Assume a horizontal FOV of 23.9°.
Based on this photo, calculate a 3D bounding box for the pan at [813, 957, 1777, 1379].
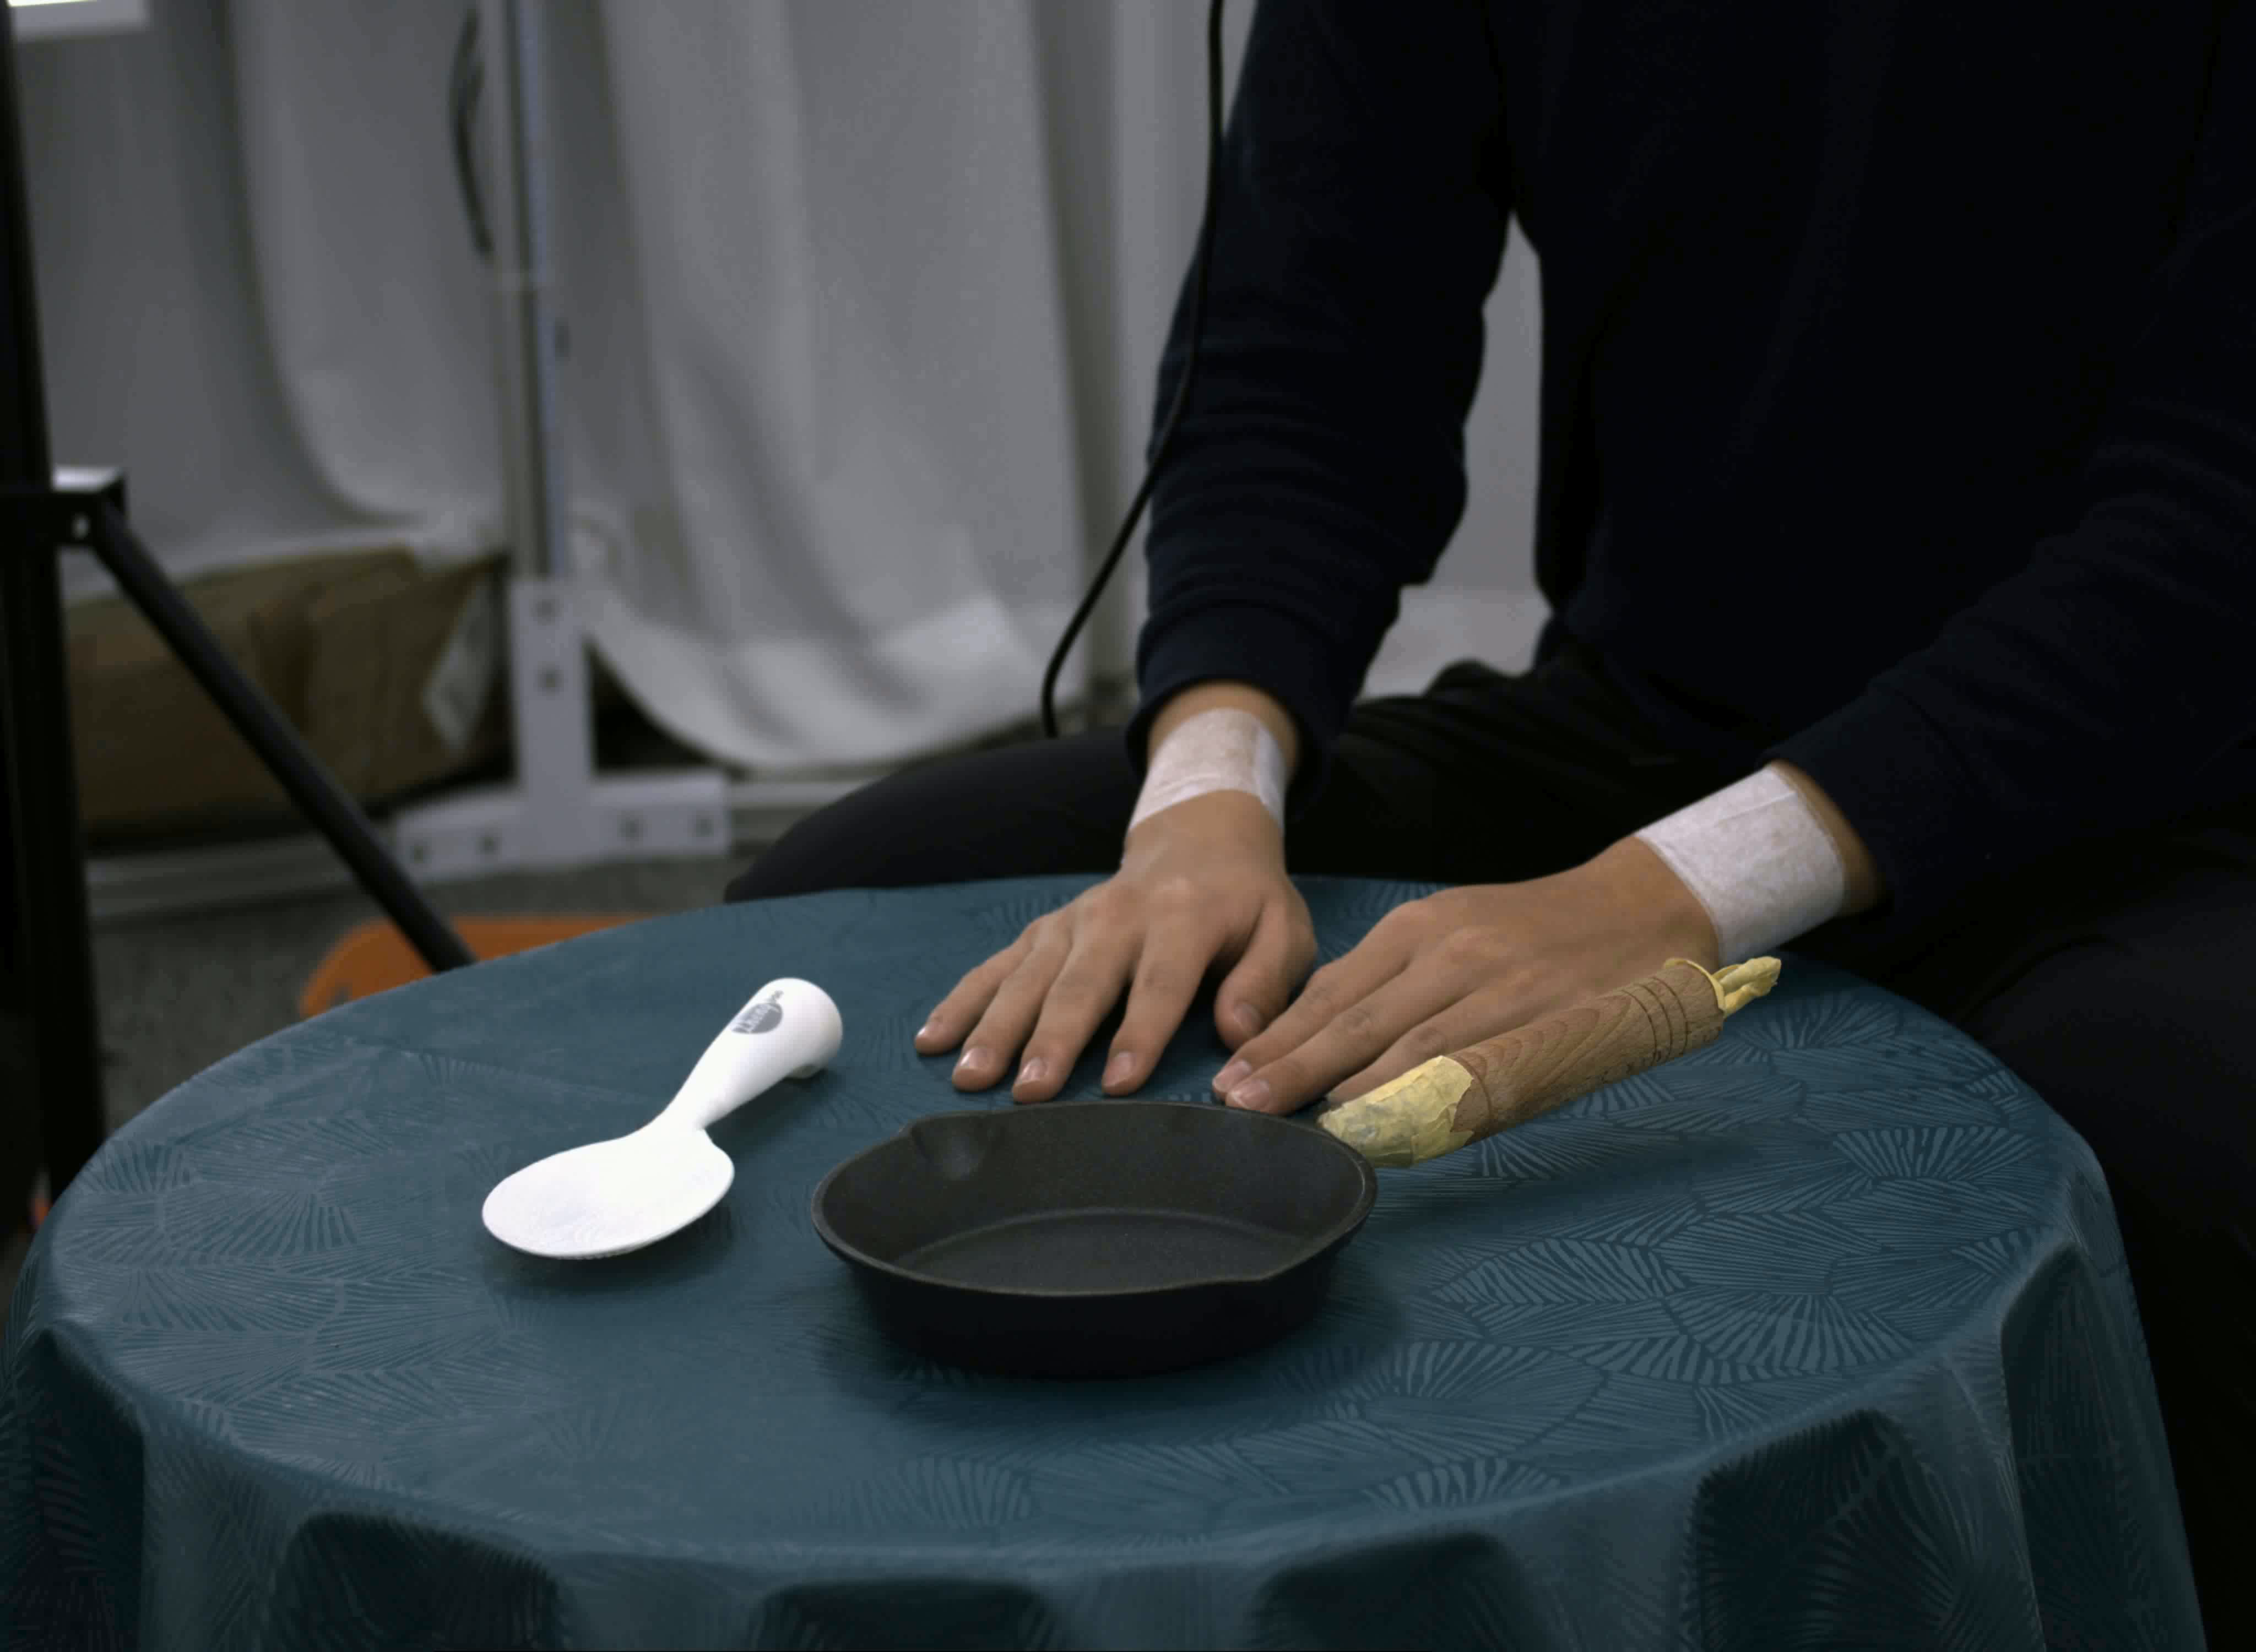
[{"bbox_3d":[0.061,0.093,1.510,0.317,0.049,0.172,-14,19,-29],"label":"pan"}]

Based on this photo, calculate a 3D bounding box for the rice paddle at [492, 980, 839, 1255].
[{"bbox_3d":[-0.132,0.090,1.592,0.069,0.029,0.203,0,16,16],"label":"rice paddle"}]
